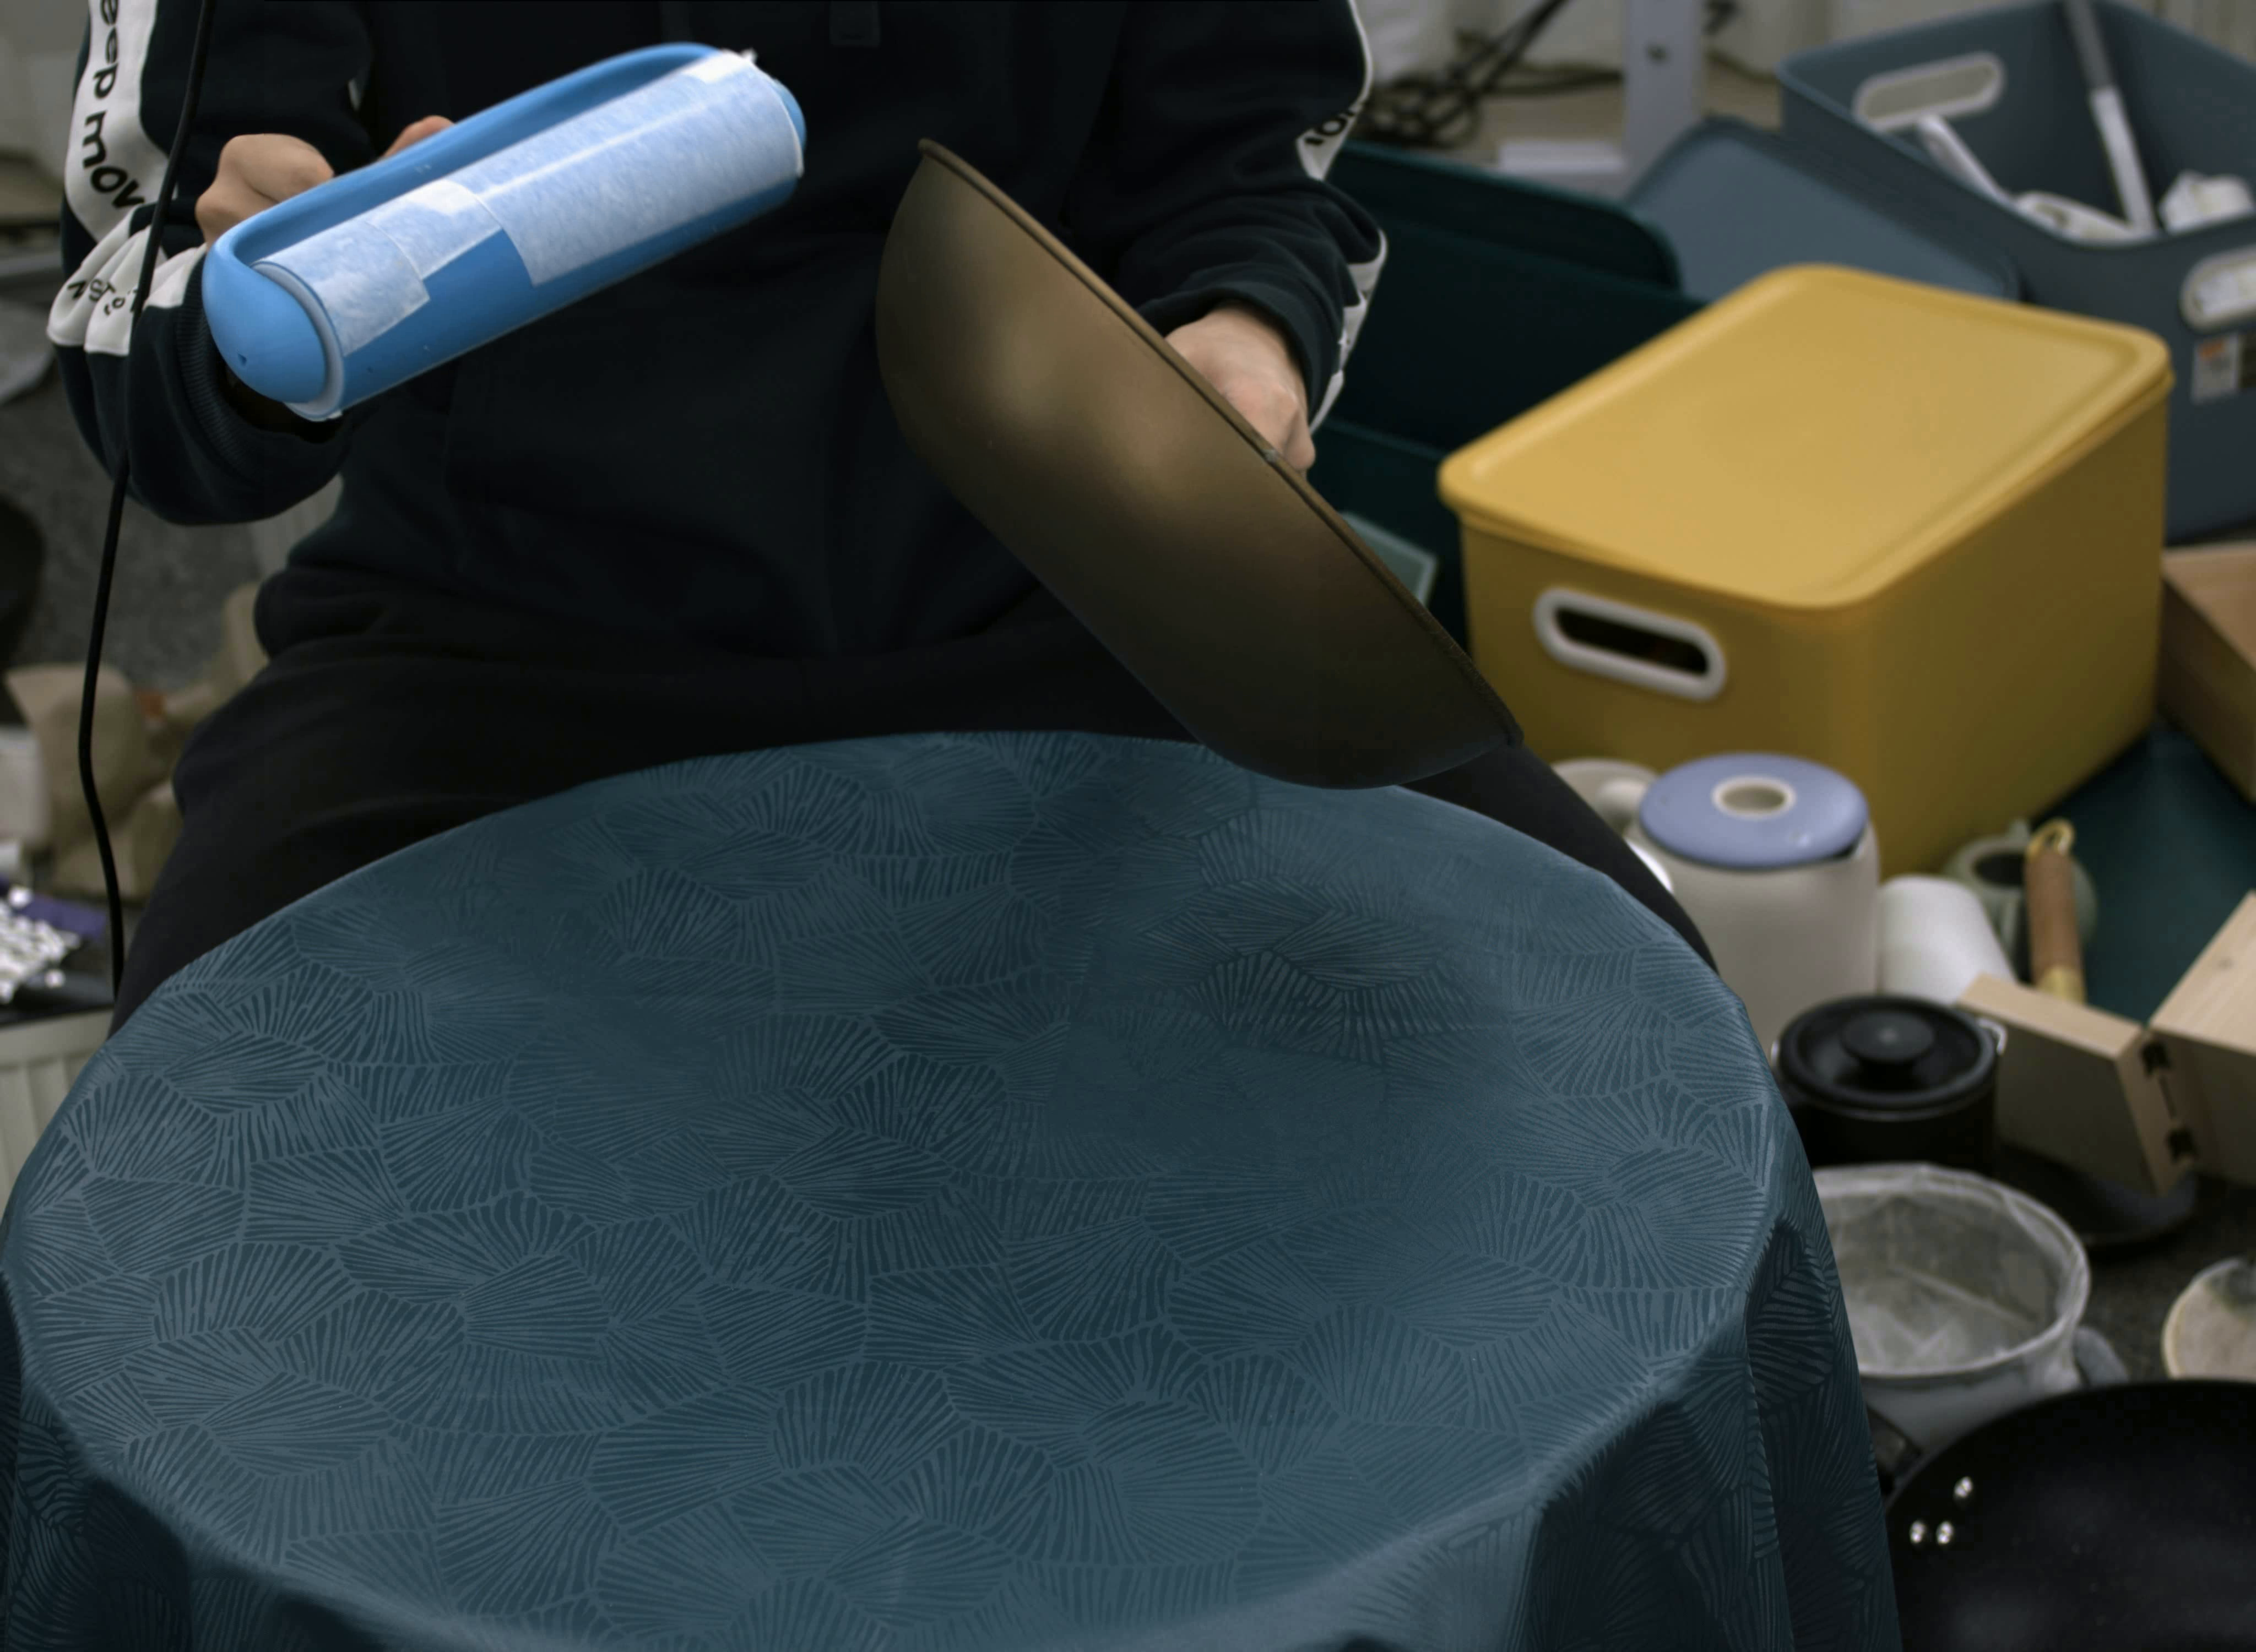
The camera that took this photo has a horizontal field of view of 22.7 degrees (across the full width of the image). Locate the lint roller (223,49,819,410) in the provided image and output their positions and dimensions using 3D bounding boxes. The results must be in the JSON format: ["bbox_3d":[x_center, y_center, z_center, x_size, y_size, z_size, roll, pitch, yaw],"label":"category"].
[{"bbox_3d":[-0.229,-0.191,1.859,0.178,0.067,0.232,-4,22,47],"label":"lint roller"}]

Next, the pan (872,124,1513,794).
[{"bbox_3d":[0.002,-0.109,1.986,0.087,0.288,0.463,-44,3,0],"label":"pan"}]
